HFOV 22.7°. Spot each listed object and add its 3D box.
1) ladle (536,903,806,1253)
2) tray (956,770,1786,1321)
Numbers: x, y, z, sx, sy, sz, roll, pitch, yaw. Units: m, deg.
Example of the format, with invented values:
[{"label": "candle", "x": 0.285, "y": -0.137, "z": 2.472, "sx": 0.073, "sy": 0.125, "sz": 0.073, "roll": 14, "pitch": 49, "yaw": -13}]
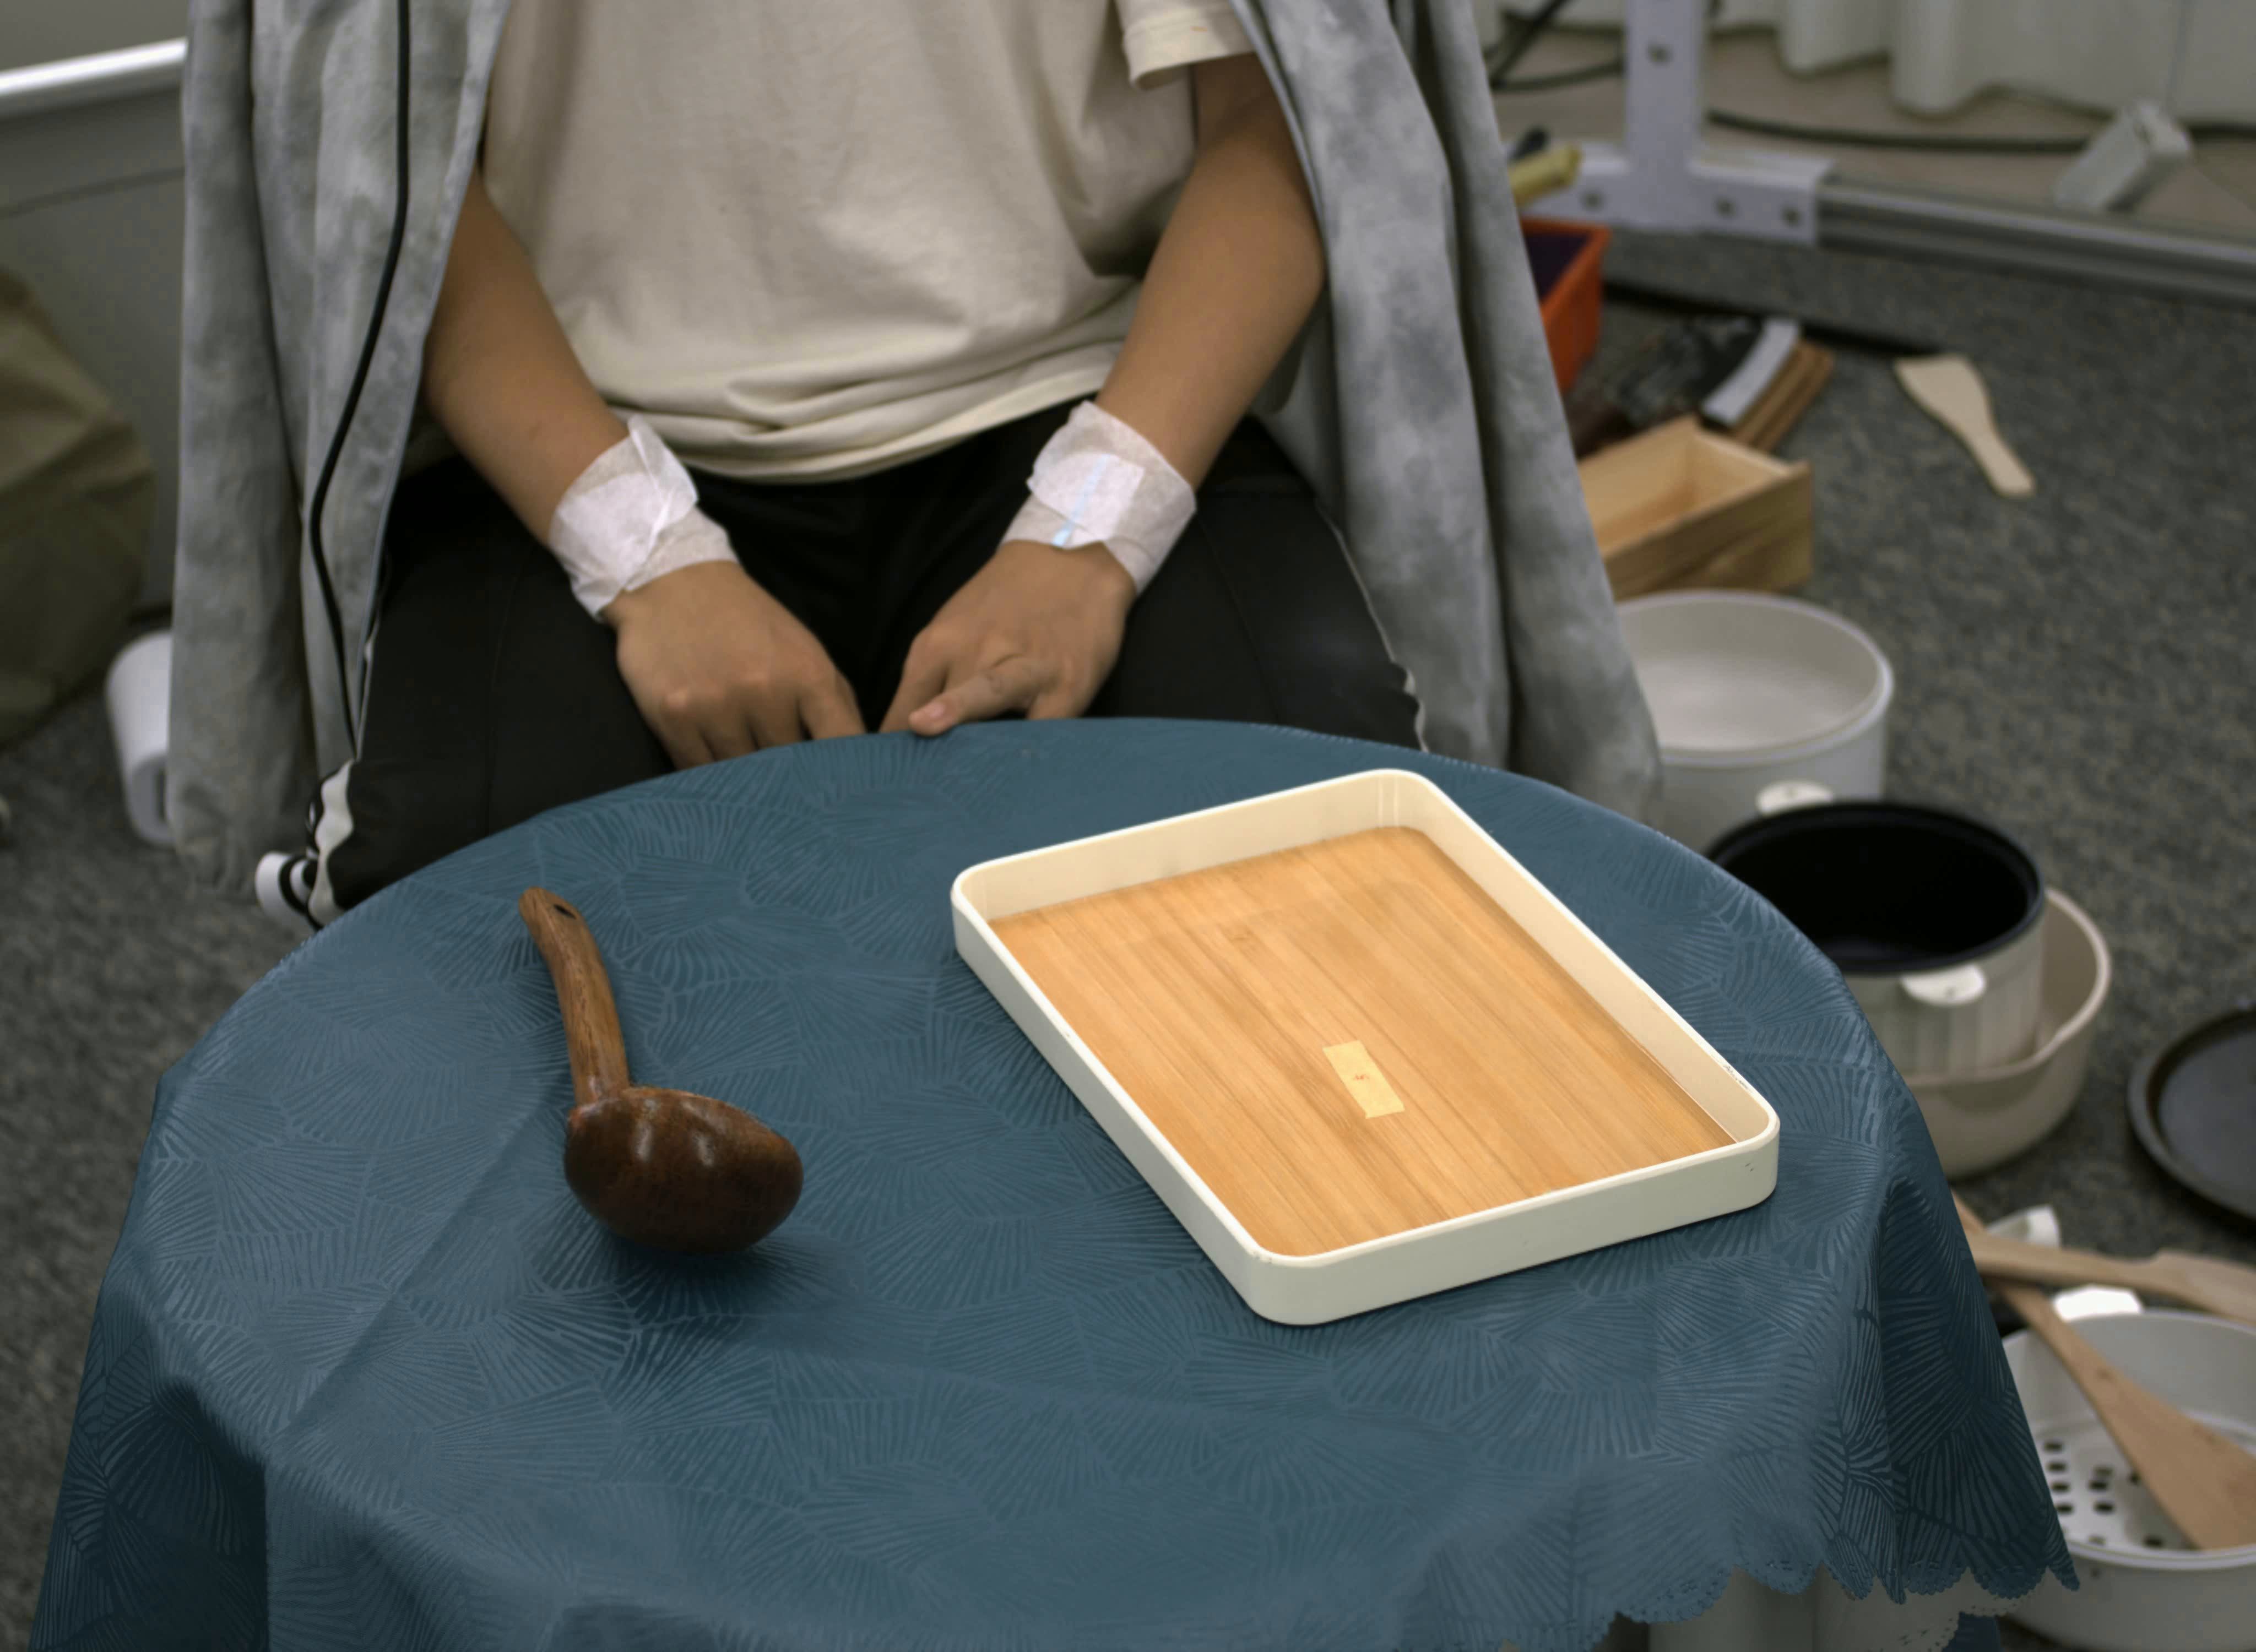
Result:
[{"label": "ladle", "x": -0.165, "y": 0.066, "z": 1.910, "sx": 0.081, "sy": 0.076, "sz": 0.277, "roll": 33, "pitch": 15, "yaw": -22}, {"label": "tray", "x": 0.077, "y": 0.069, "z": 1.924, "sx": 0.192, "sy": 0.027, "sz": 0.302, "roll": -13, "pitch": 29, "yaw": -18}]
